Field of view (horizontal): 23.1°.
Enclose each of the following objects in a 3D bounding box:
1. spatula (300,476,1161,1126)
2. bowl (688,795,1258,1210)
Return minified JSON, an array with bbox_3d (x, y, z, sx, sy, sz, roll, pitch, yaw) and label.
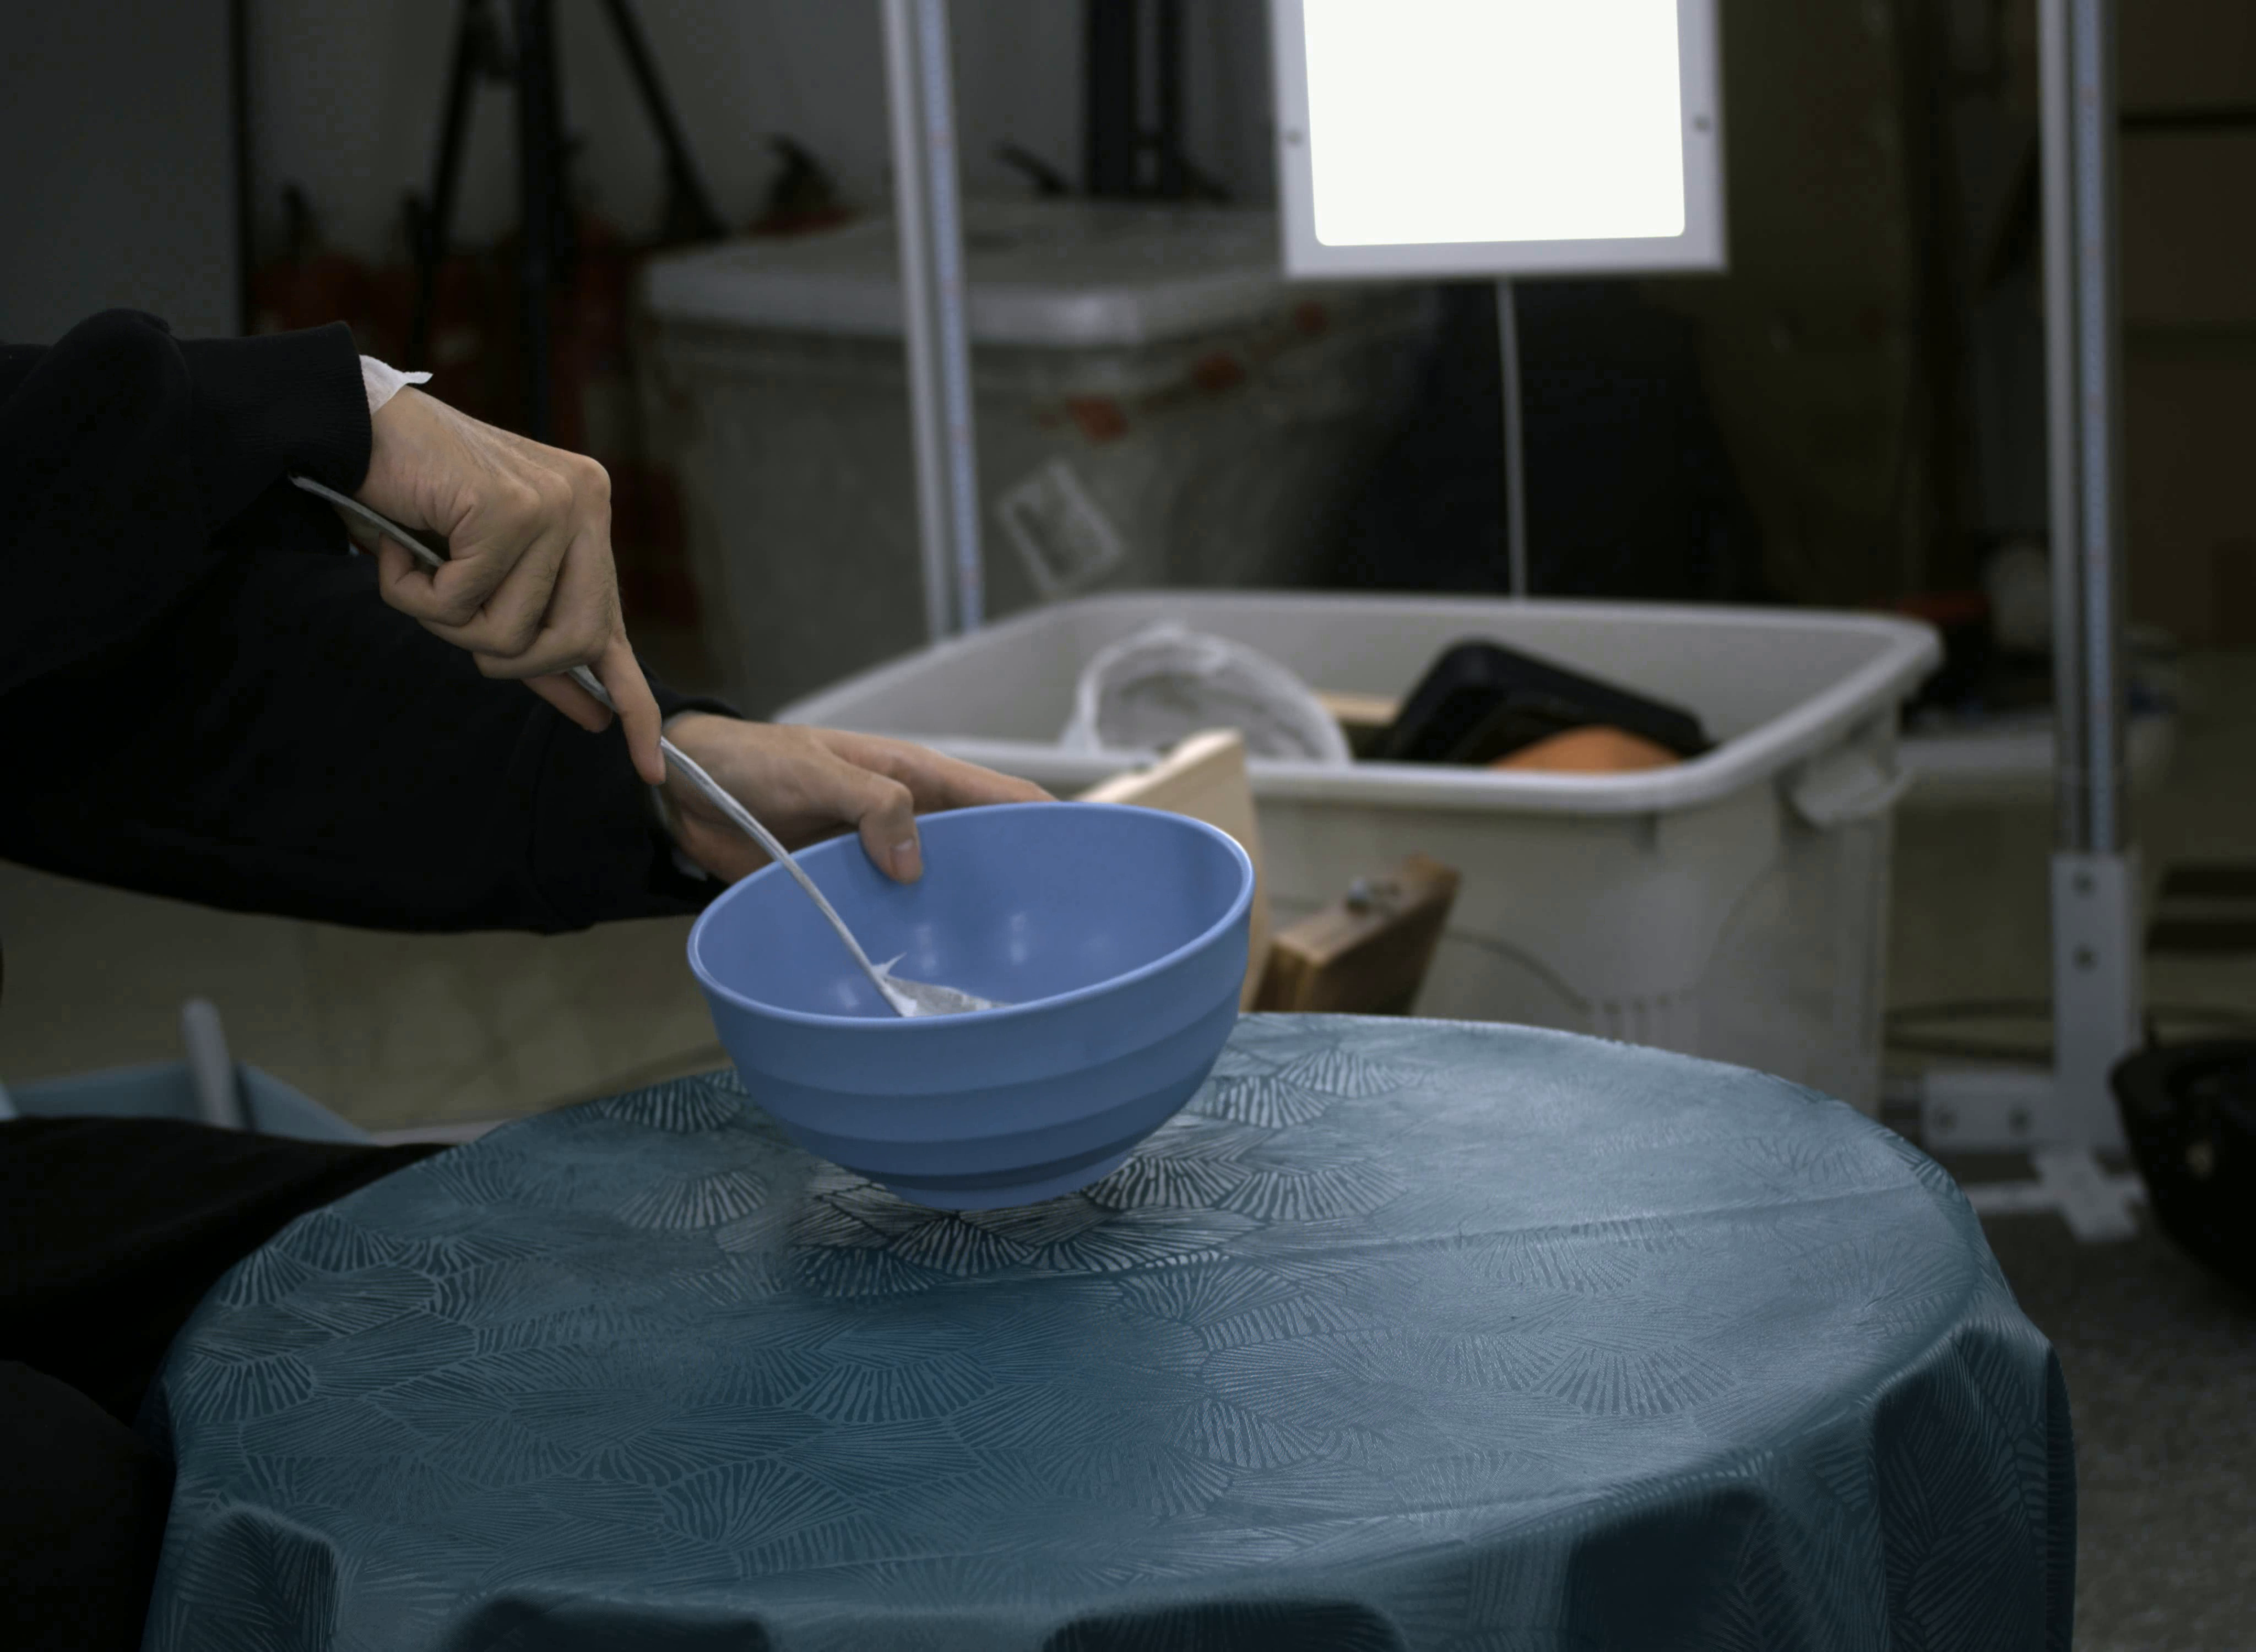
[{"bbox_3d":[-0.128,-0.009,1.838,0.045,0.361,0.099,-45,21,4],"label":"spatula"},{"bbox_3d":[-0.048,0.070,1.890,0.196,0.096,0.196,-7,21,1],"label":"bowl"}]
